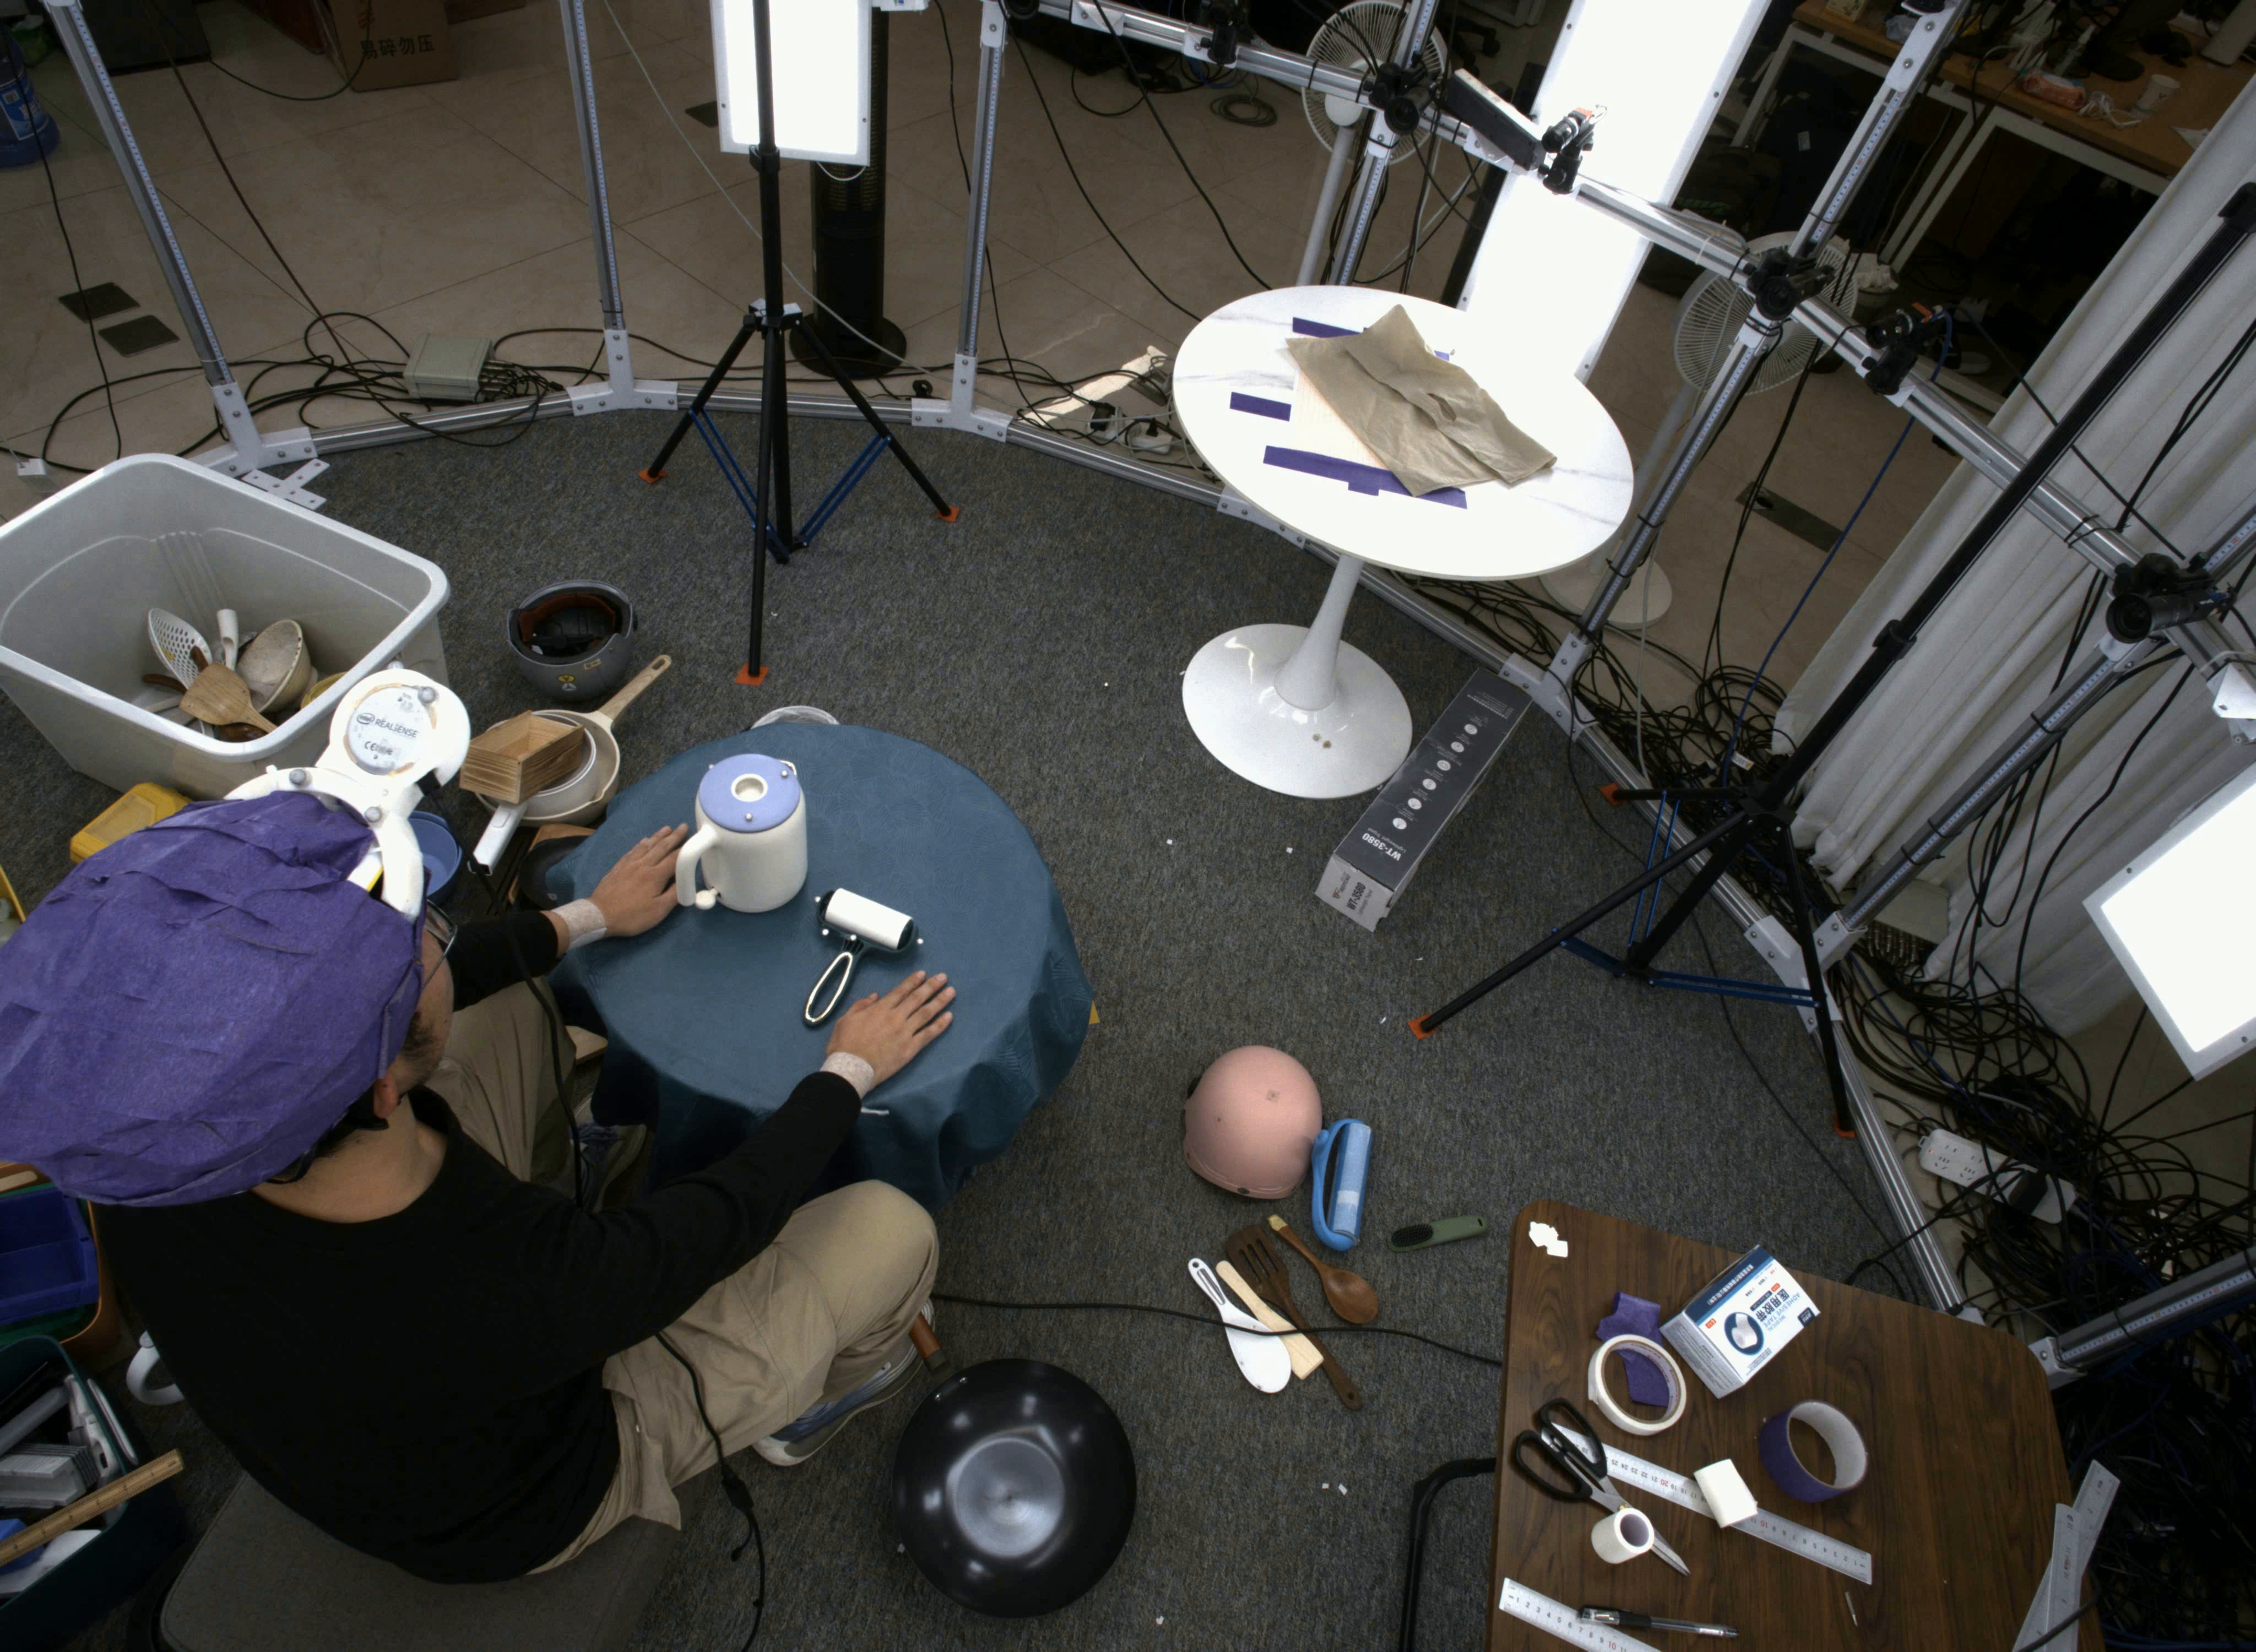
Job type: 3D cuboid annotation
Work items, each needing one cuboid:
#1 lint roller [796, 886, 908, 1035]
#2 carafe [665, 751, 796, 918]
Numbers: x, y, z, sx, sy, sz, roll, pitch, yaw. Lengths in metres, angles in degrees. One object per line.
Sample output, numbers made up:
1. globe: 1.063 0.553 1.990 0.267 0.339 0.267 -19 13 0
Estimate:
1. lint roller: -0.359 0.167 1.584 0.133 0.049 0.178 21 55 2
2. carafe: -0.492 0.024 1.572 0.129 0.186 0.191 32 55 14
